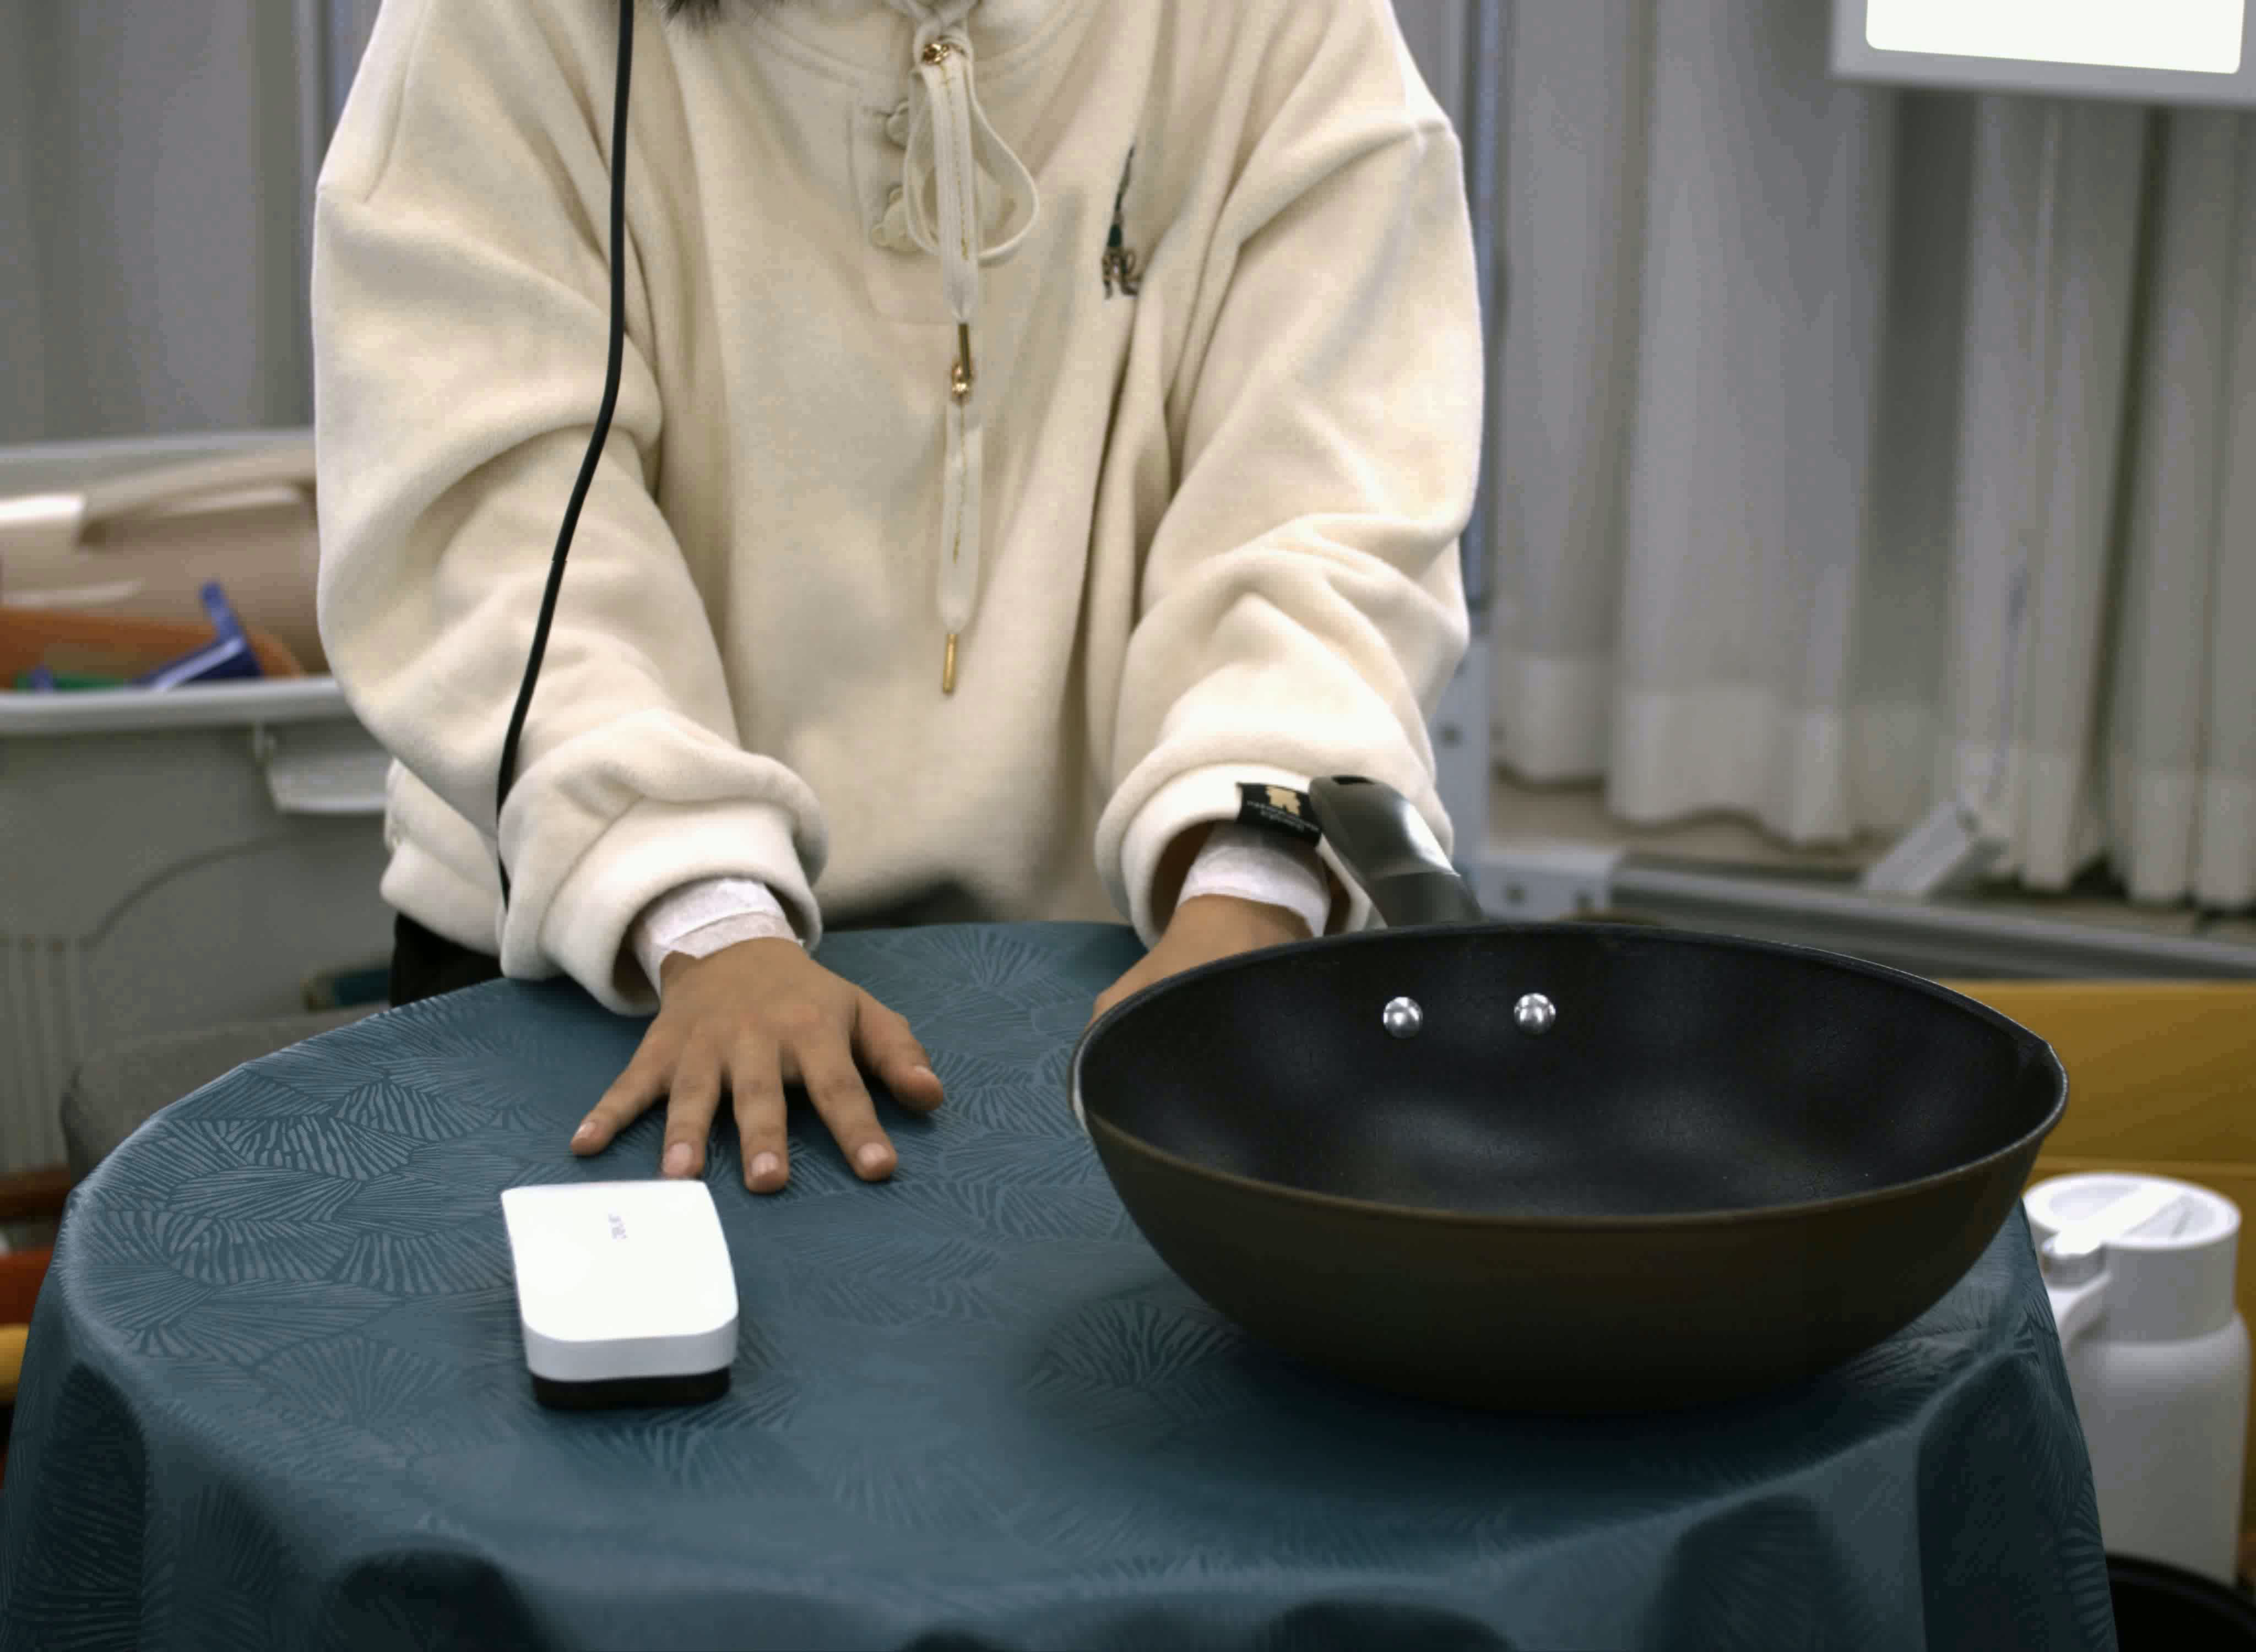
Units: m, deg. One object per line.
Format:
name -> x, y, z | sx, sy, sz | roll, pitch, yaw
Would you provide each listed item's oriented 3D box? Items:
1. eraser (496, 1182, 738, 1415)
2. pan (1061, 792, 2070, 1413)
eraser -> -0.146, 0.130, 1.498 | 0.063, 0.035, 0.130 | 1, 16, -10
pan -> 0.110, 0.080, 1.586 | 0.288, 0.087, 0.459 | -1, 14, -9
